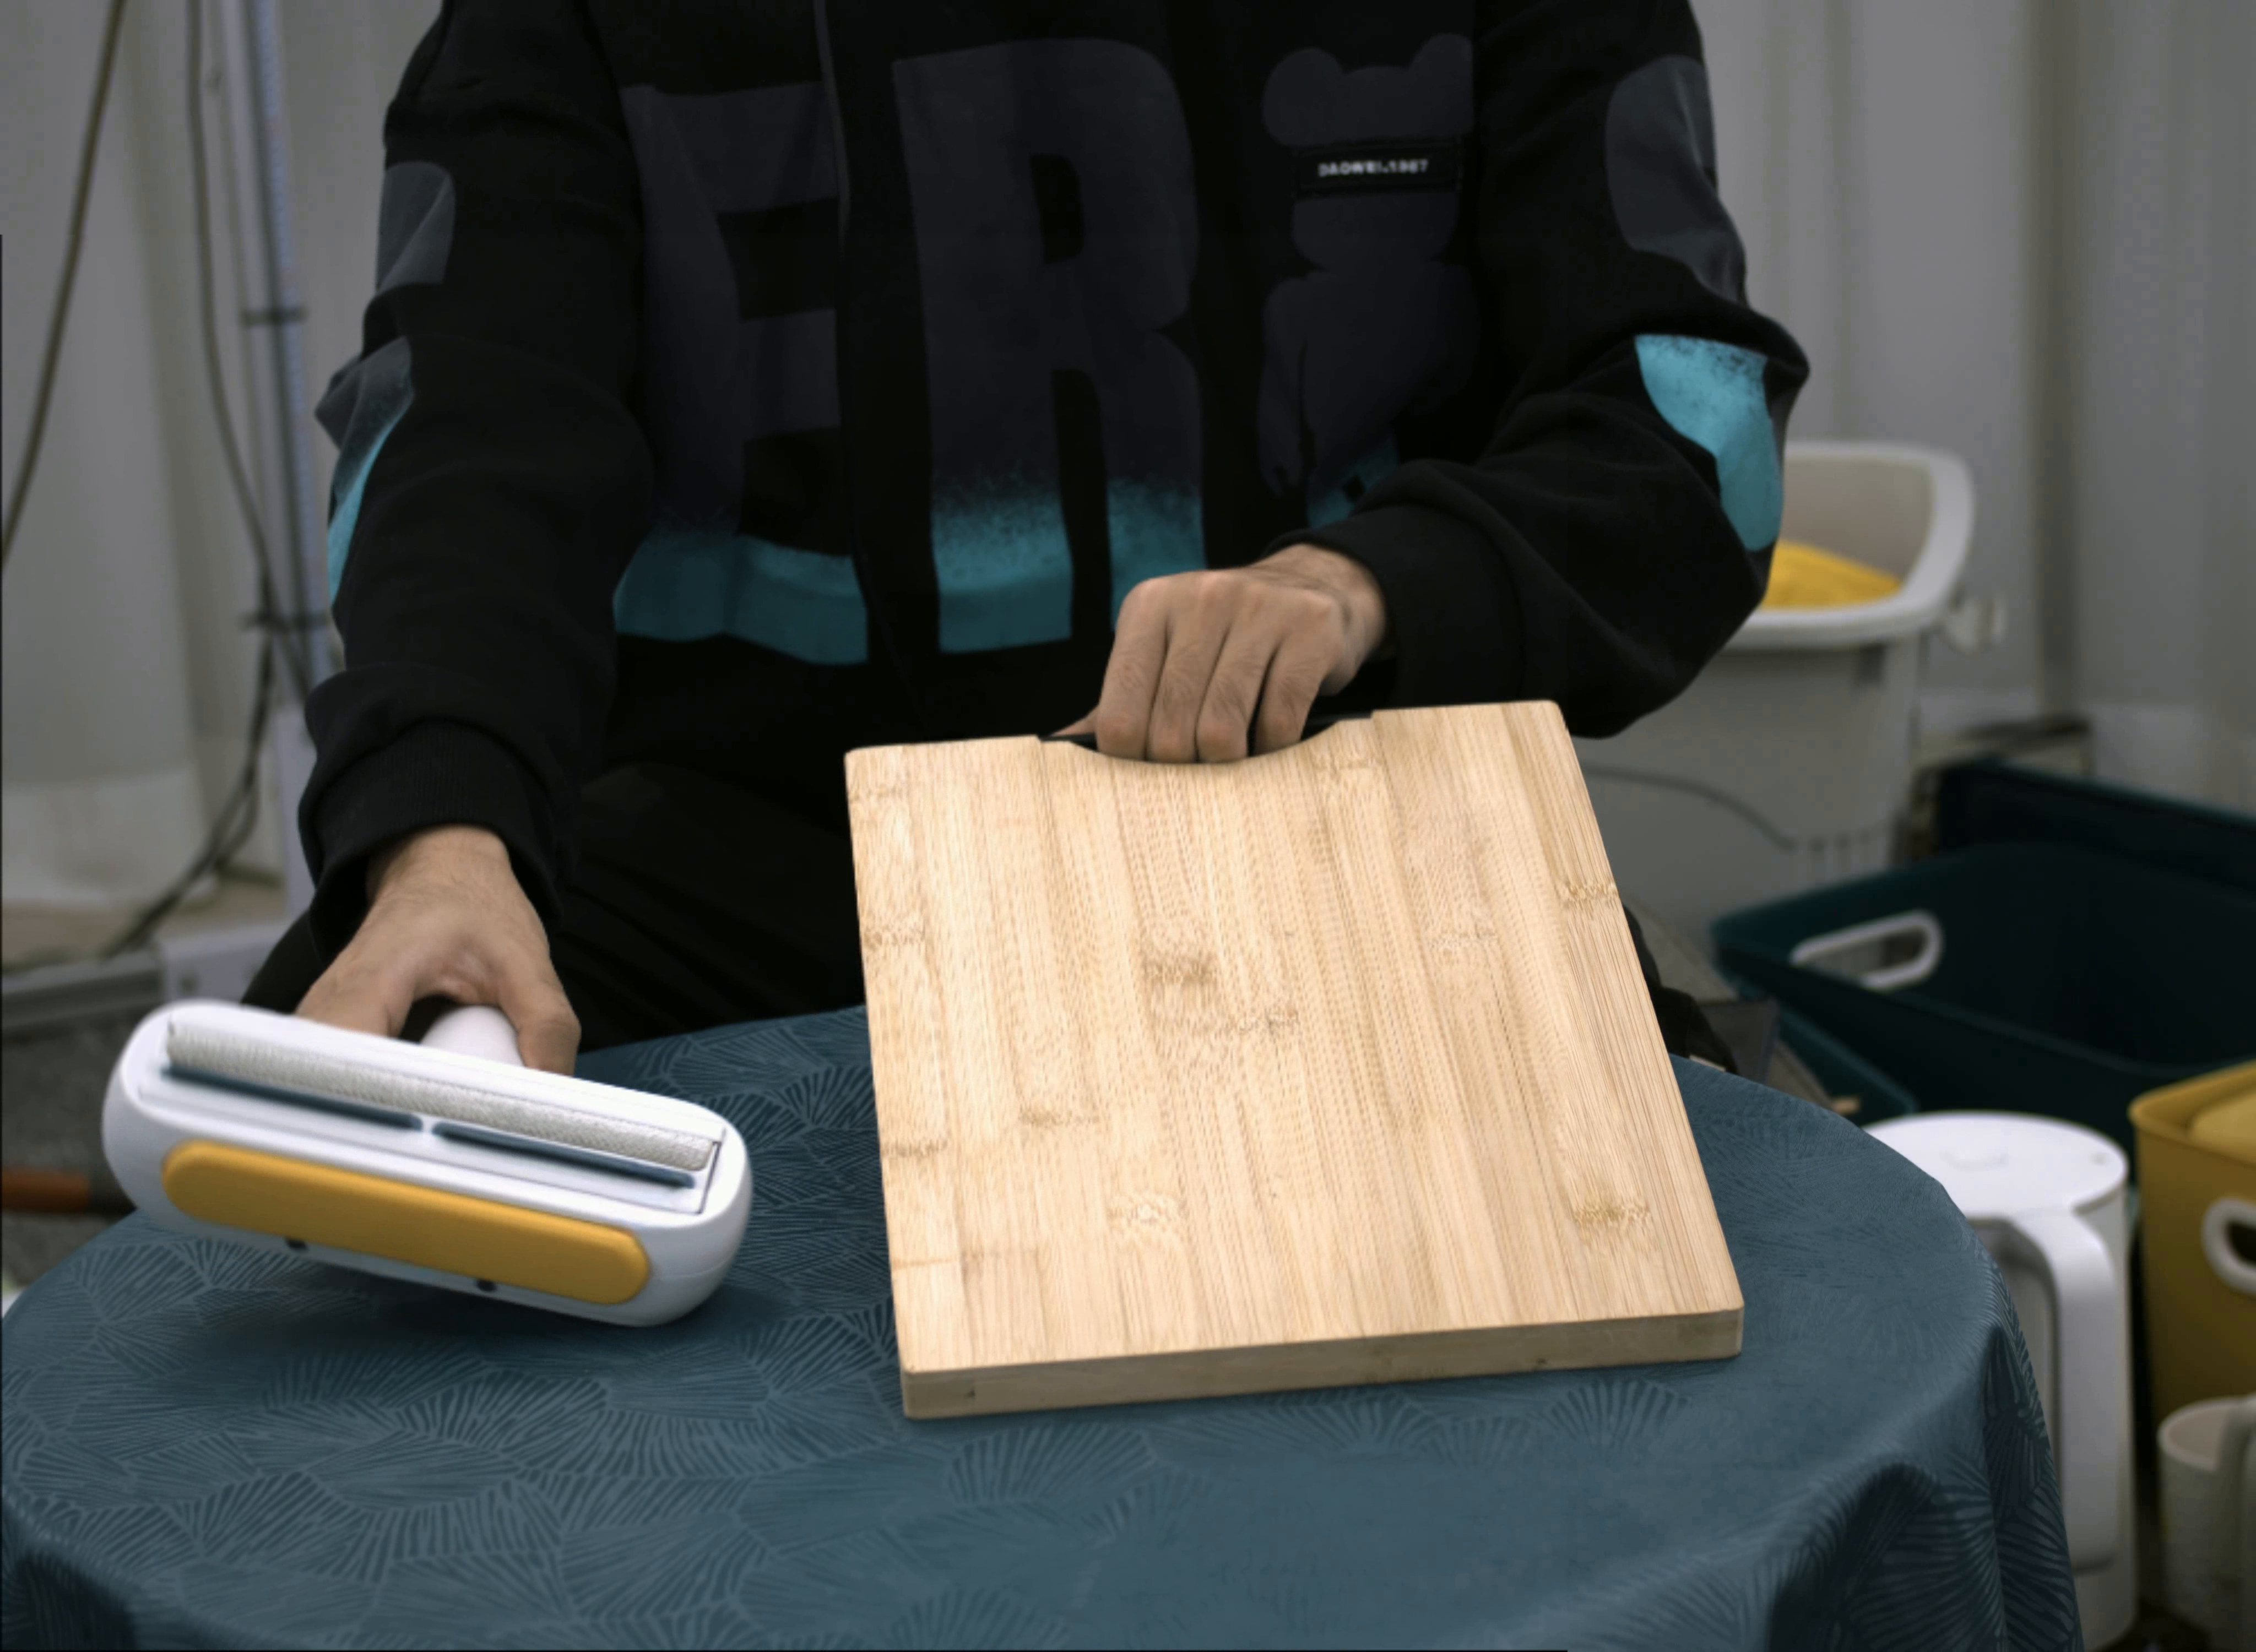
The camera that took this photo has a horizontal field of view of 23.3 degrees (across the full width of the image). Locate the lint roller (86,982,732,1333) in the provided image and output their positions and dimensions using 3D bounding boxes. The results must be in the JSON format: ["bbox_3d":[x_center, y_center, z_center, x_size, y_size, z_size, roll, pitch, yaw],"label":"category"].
[{"bbox_3d":[-0.206,0.083,1.680,0.192,0.073,0.194,8,26,5],"label":"lint roller"}]

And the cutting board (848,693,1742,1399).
[{"bbox_3d":[0.040,0.061,1.686,0.250,0.023,0.353,-4,31,-4],"label":"cutting board"}]
